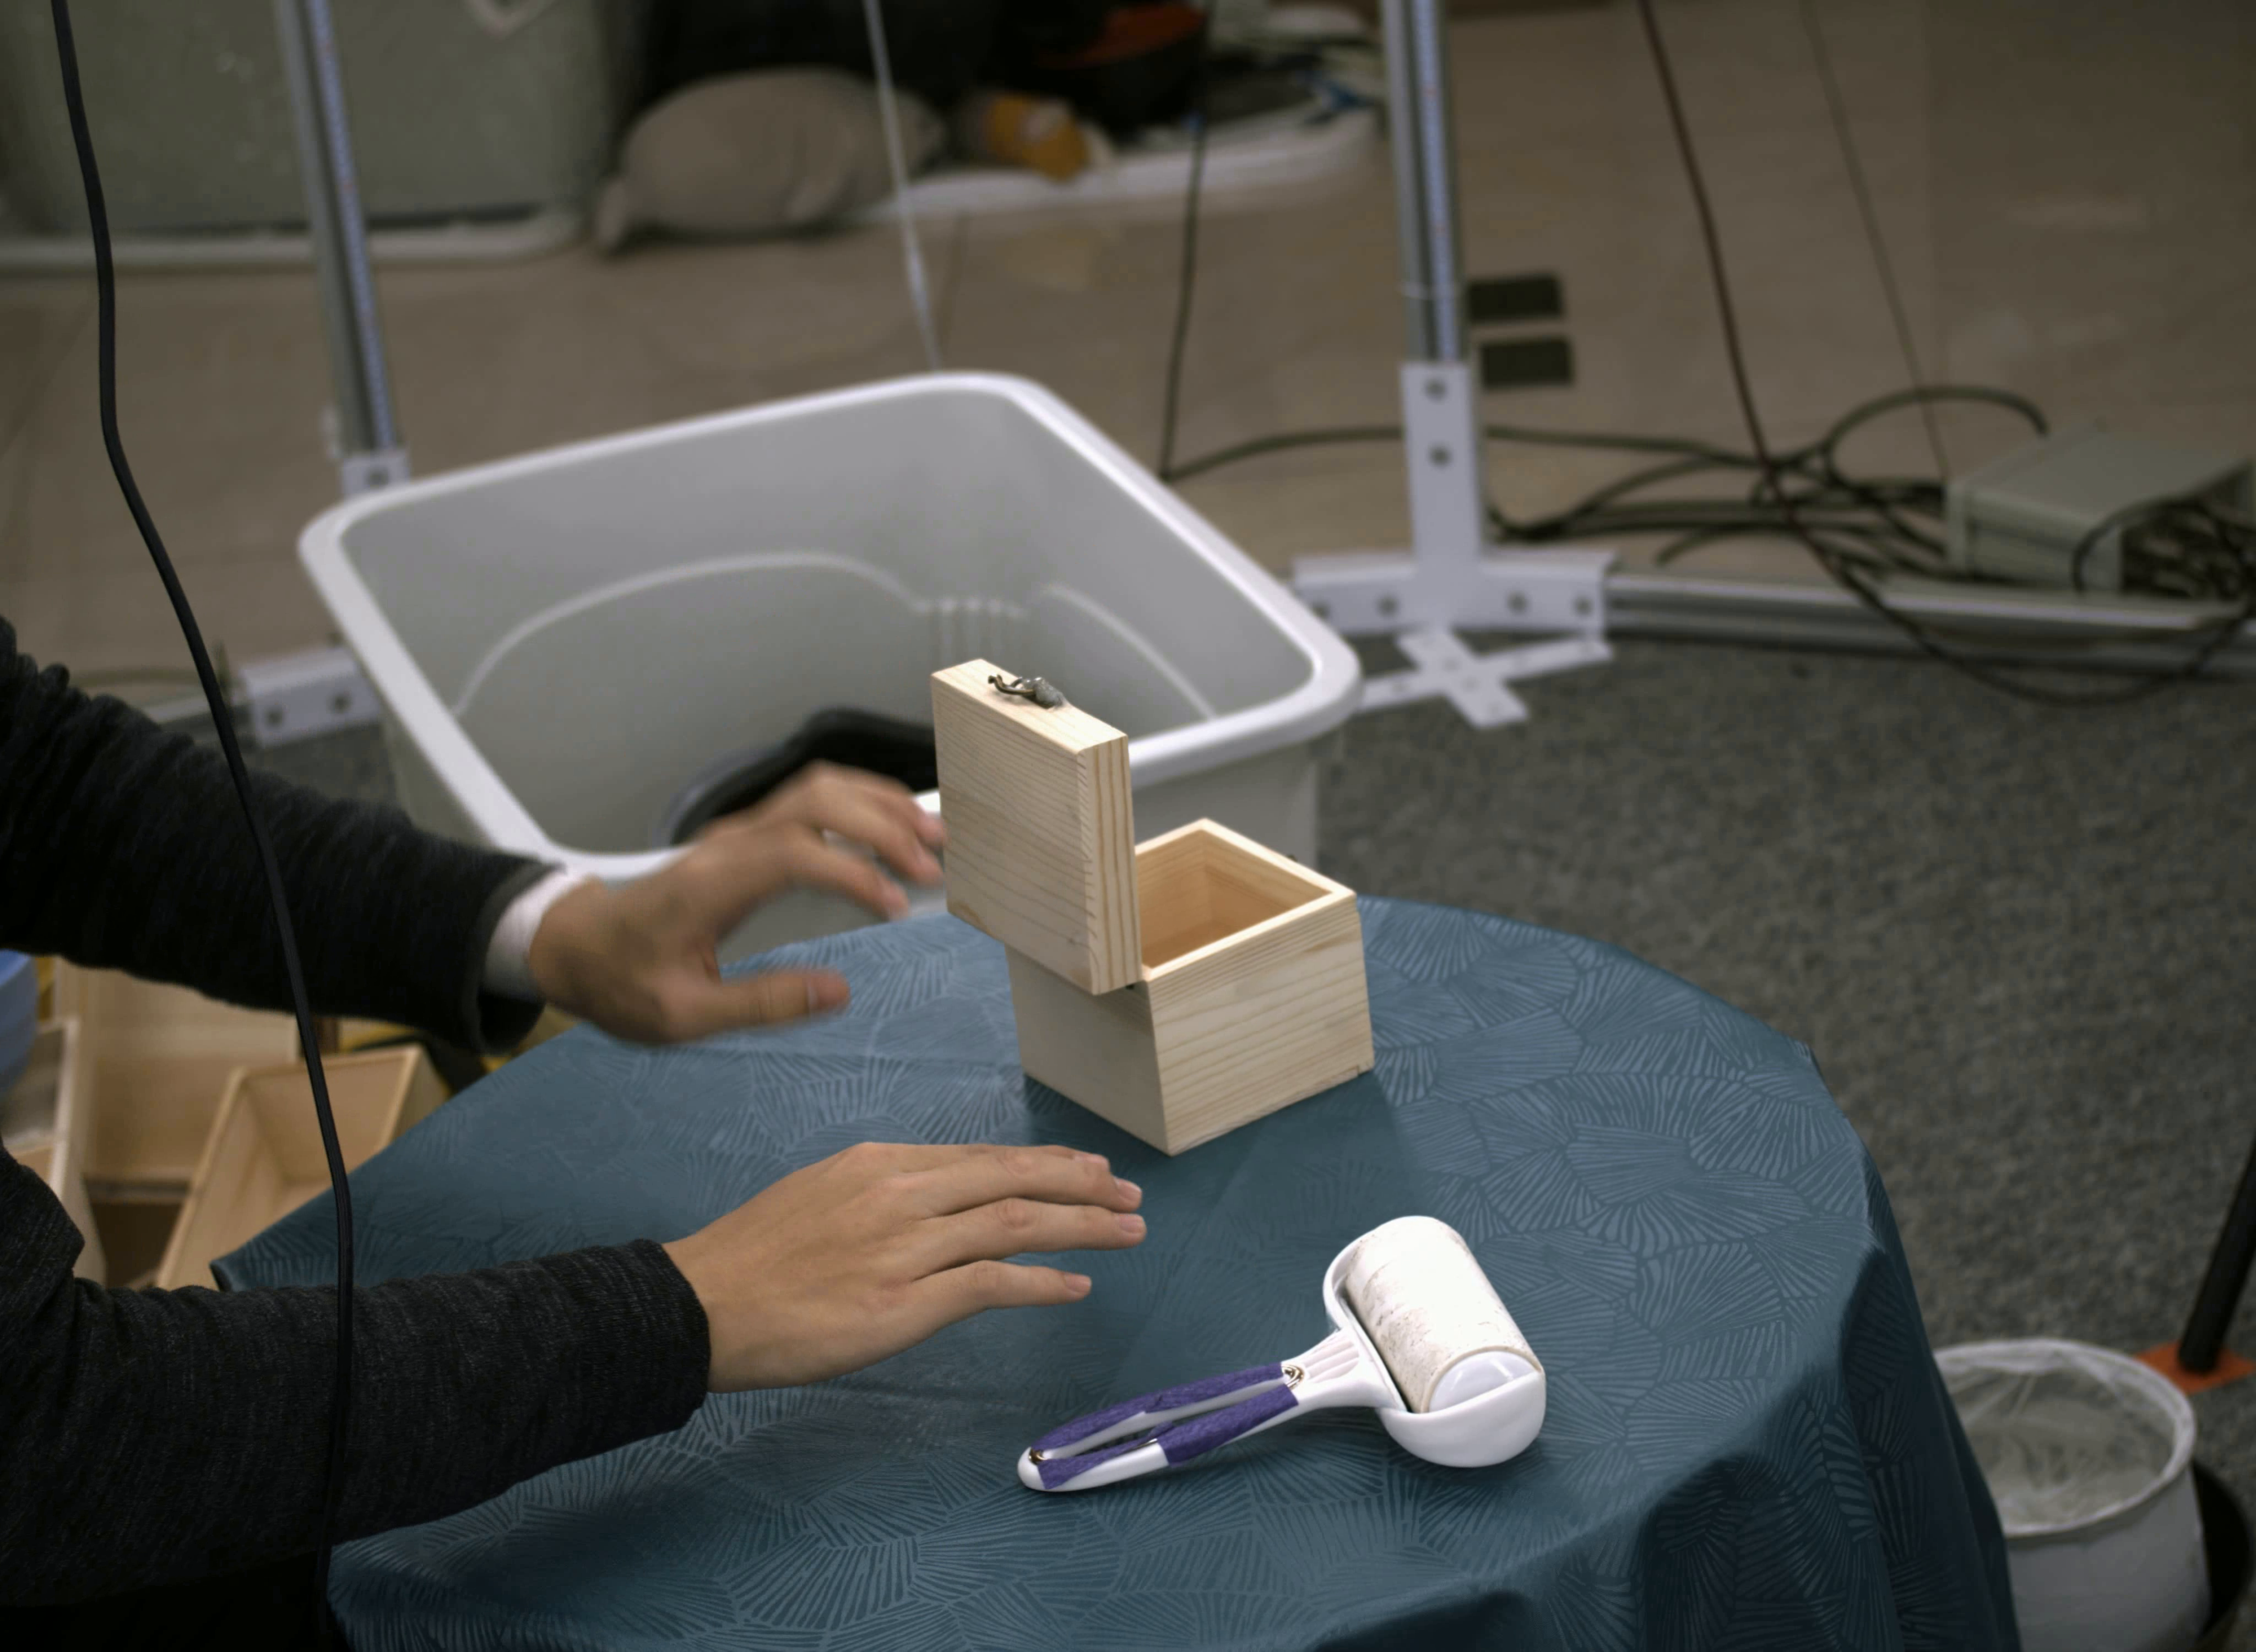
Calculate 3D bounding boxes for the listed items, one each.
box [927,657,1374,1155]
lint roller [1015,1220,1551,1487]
[{"bbox_3d":[0.010,0.017,2.186,0.133,0.187,0.101,-22,30,-28],"label":"box"},{"bbox_3d":[0.047,0.190,1.971,0.180,0.051,0.131,-8,26,-9],"label":"lint roller"}]
